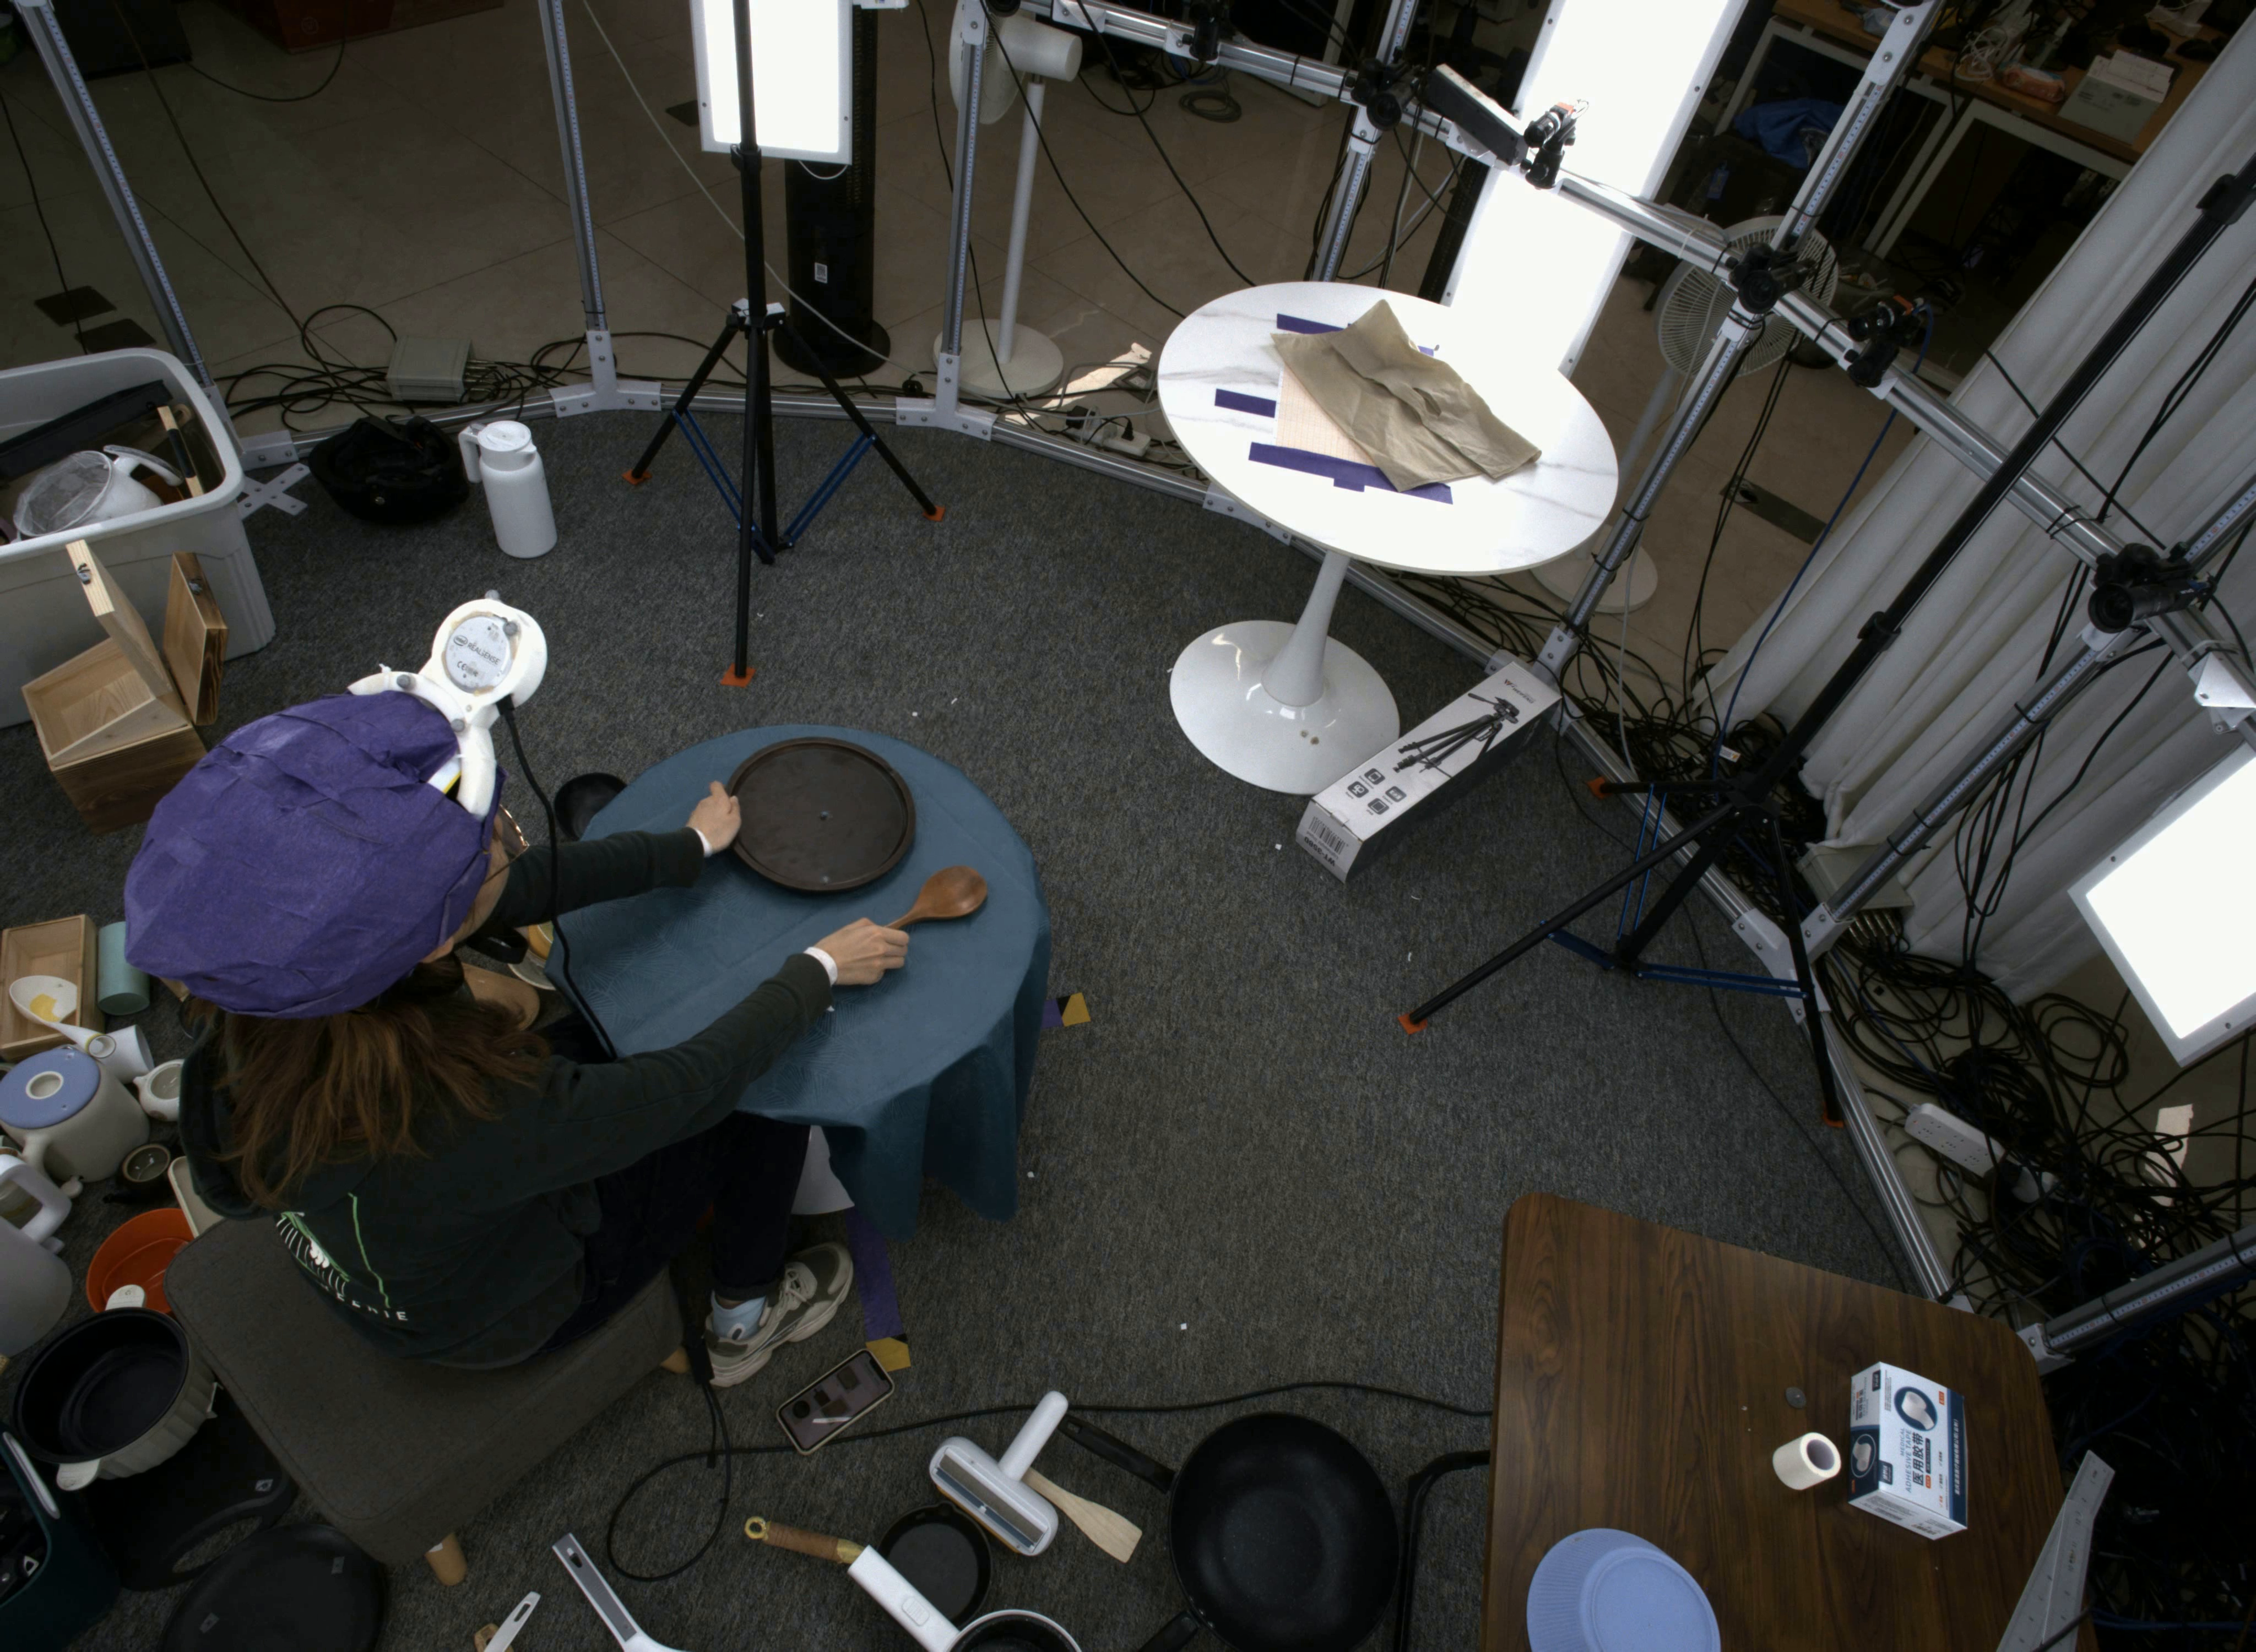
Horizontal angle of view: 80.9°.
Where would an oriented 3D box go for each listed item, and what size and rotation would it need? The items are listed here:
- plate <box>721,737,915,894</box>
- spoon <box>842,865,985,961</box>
[{"bbox_3d":[-0.409,-0.016,1.720,0.255,0.029,0.250,11,51,-12],"label":"plate"},{"bbox_3d":[-0.275,0.113,1.667,0.217,0.017,0.074,-31,69,-35],"label":"spoon"}]
